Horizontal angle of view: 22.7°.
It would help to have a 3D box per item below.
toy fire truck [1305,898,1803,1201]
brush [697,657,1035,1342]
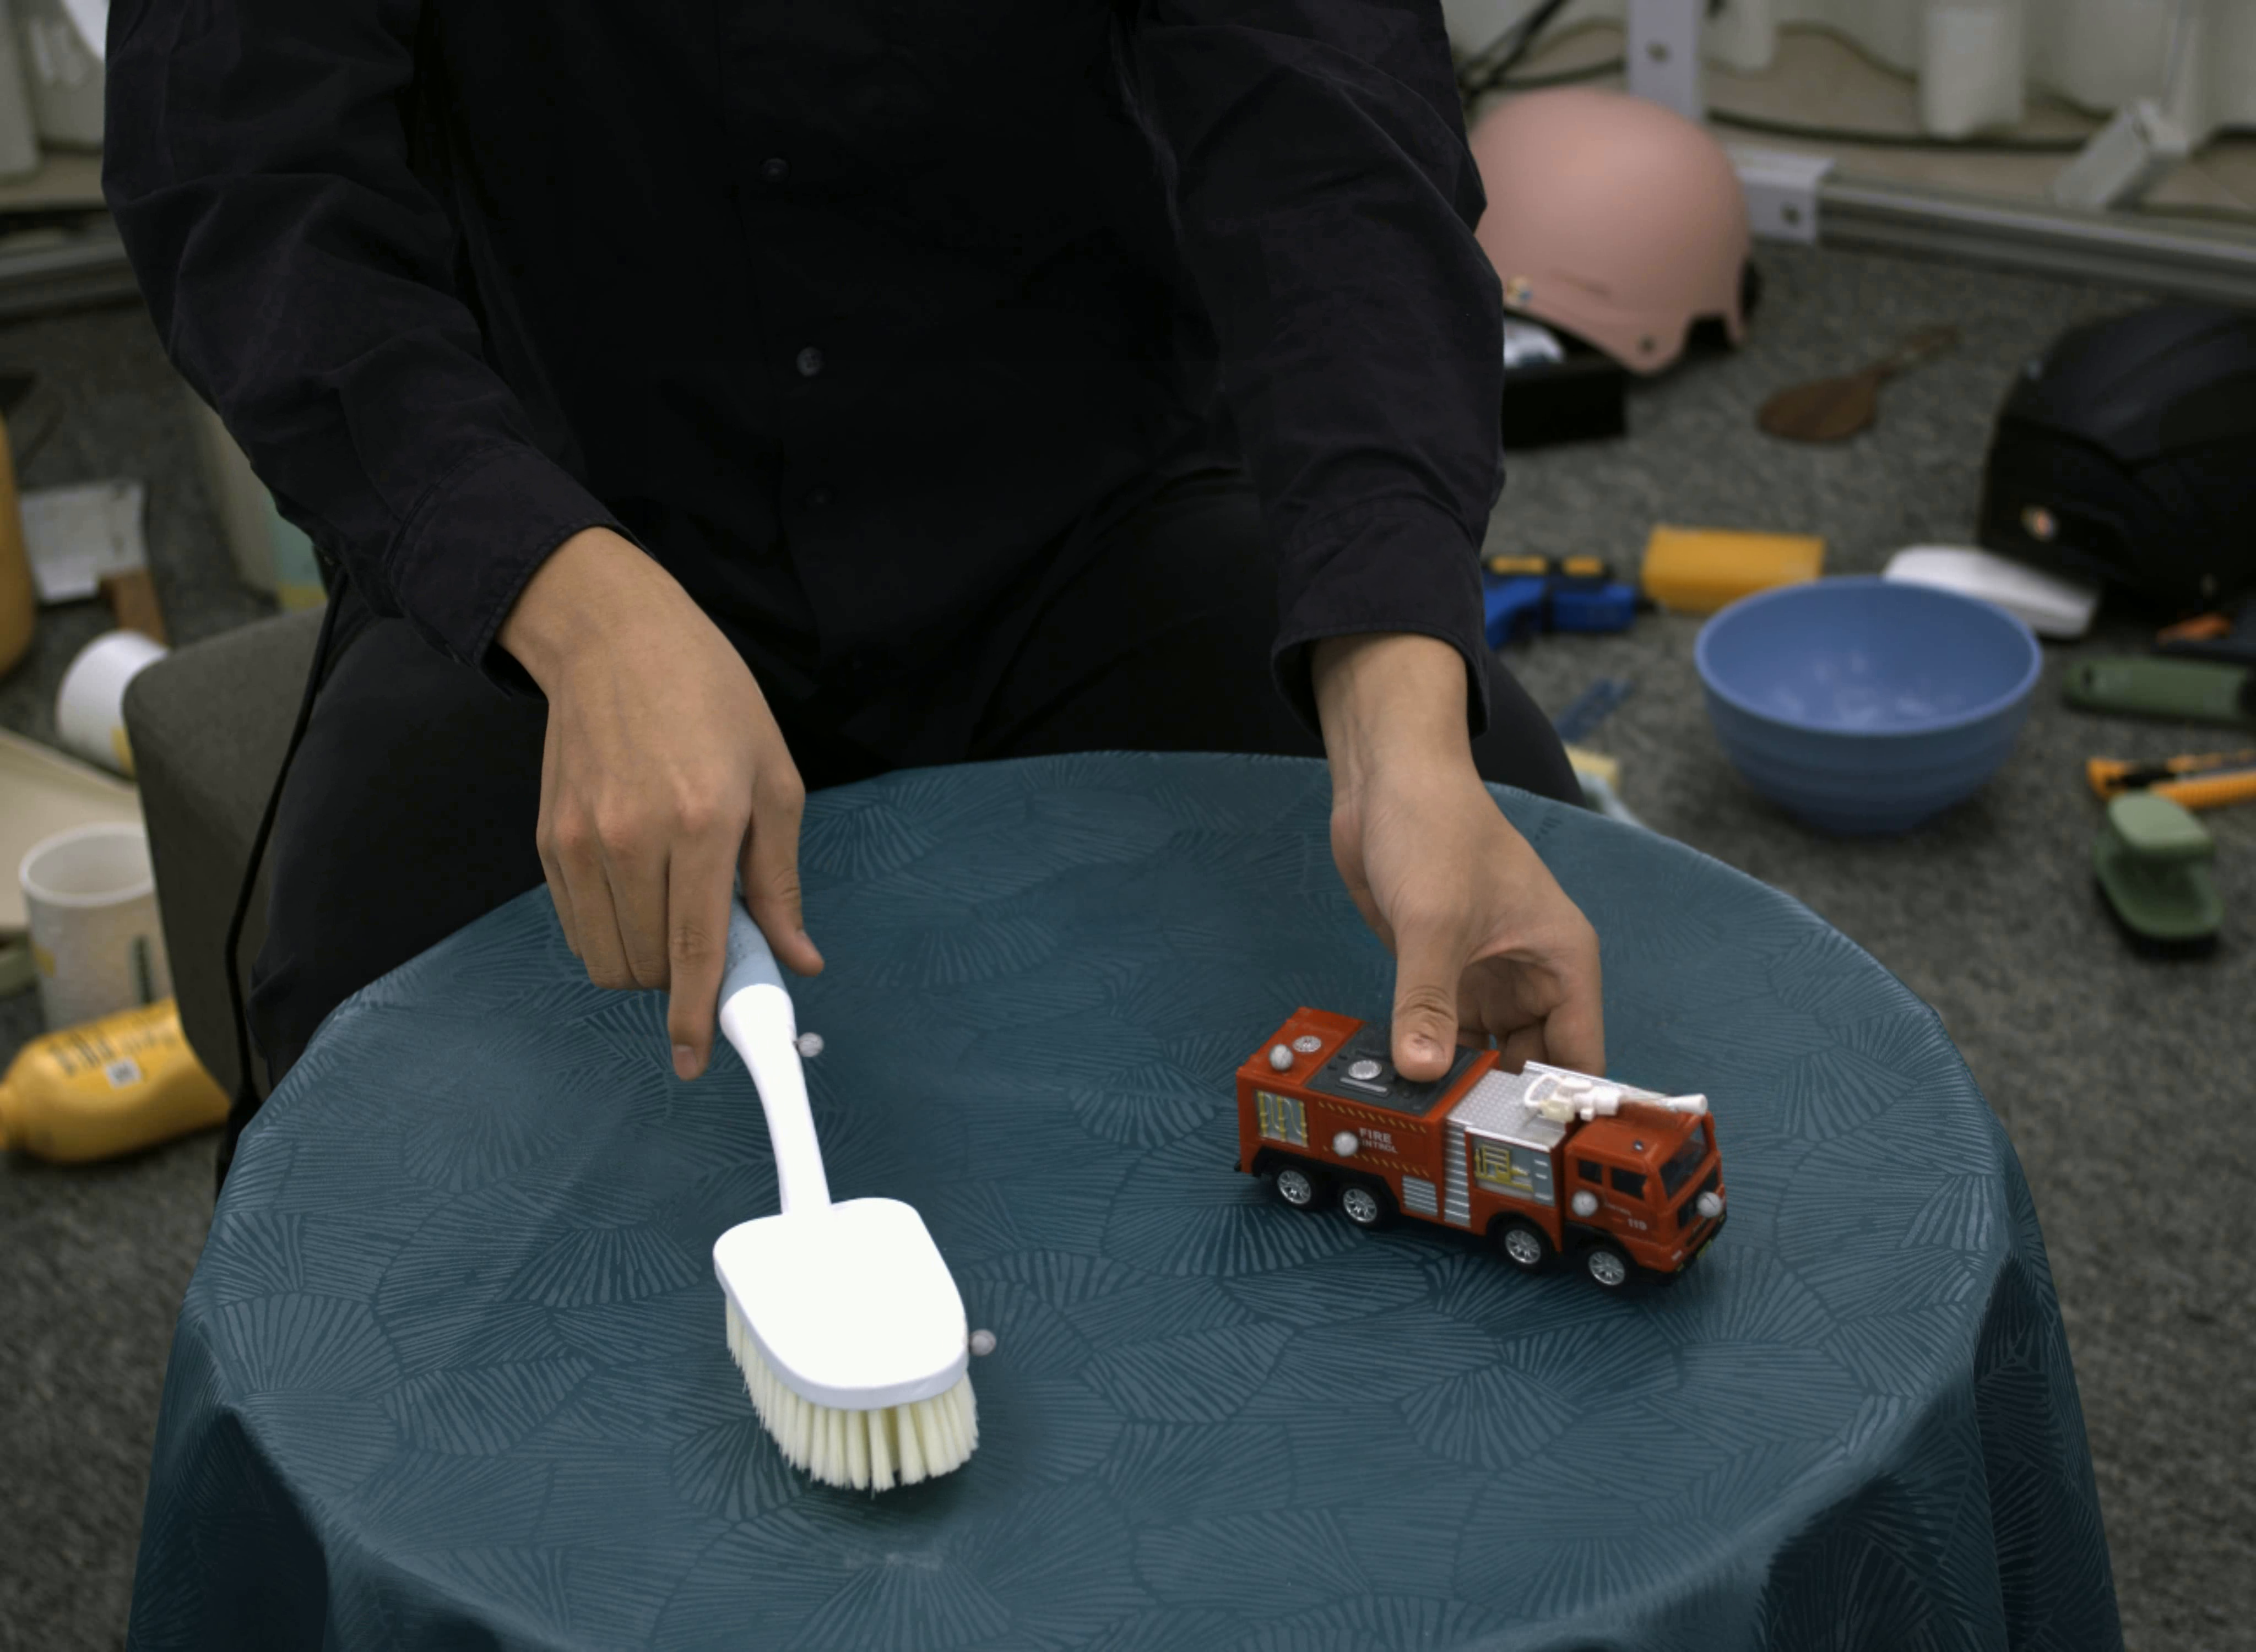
[{"bbox_3d":[0.137,0.069,1.824,0.167,0.069,0.055,10,32,29],"label":"toy fire truck"},{"bbox_3d":[-0.090,0.065,1.840,0.083,0.083,0.330,25,23,-33],"label":"brush"}]
